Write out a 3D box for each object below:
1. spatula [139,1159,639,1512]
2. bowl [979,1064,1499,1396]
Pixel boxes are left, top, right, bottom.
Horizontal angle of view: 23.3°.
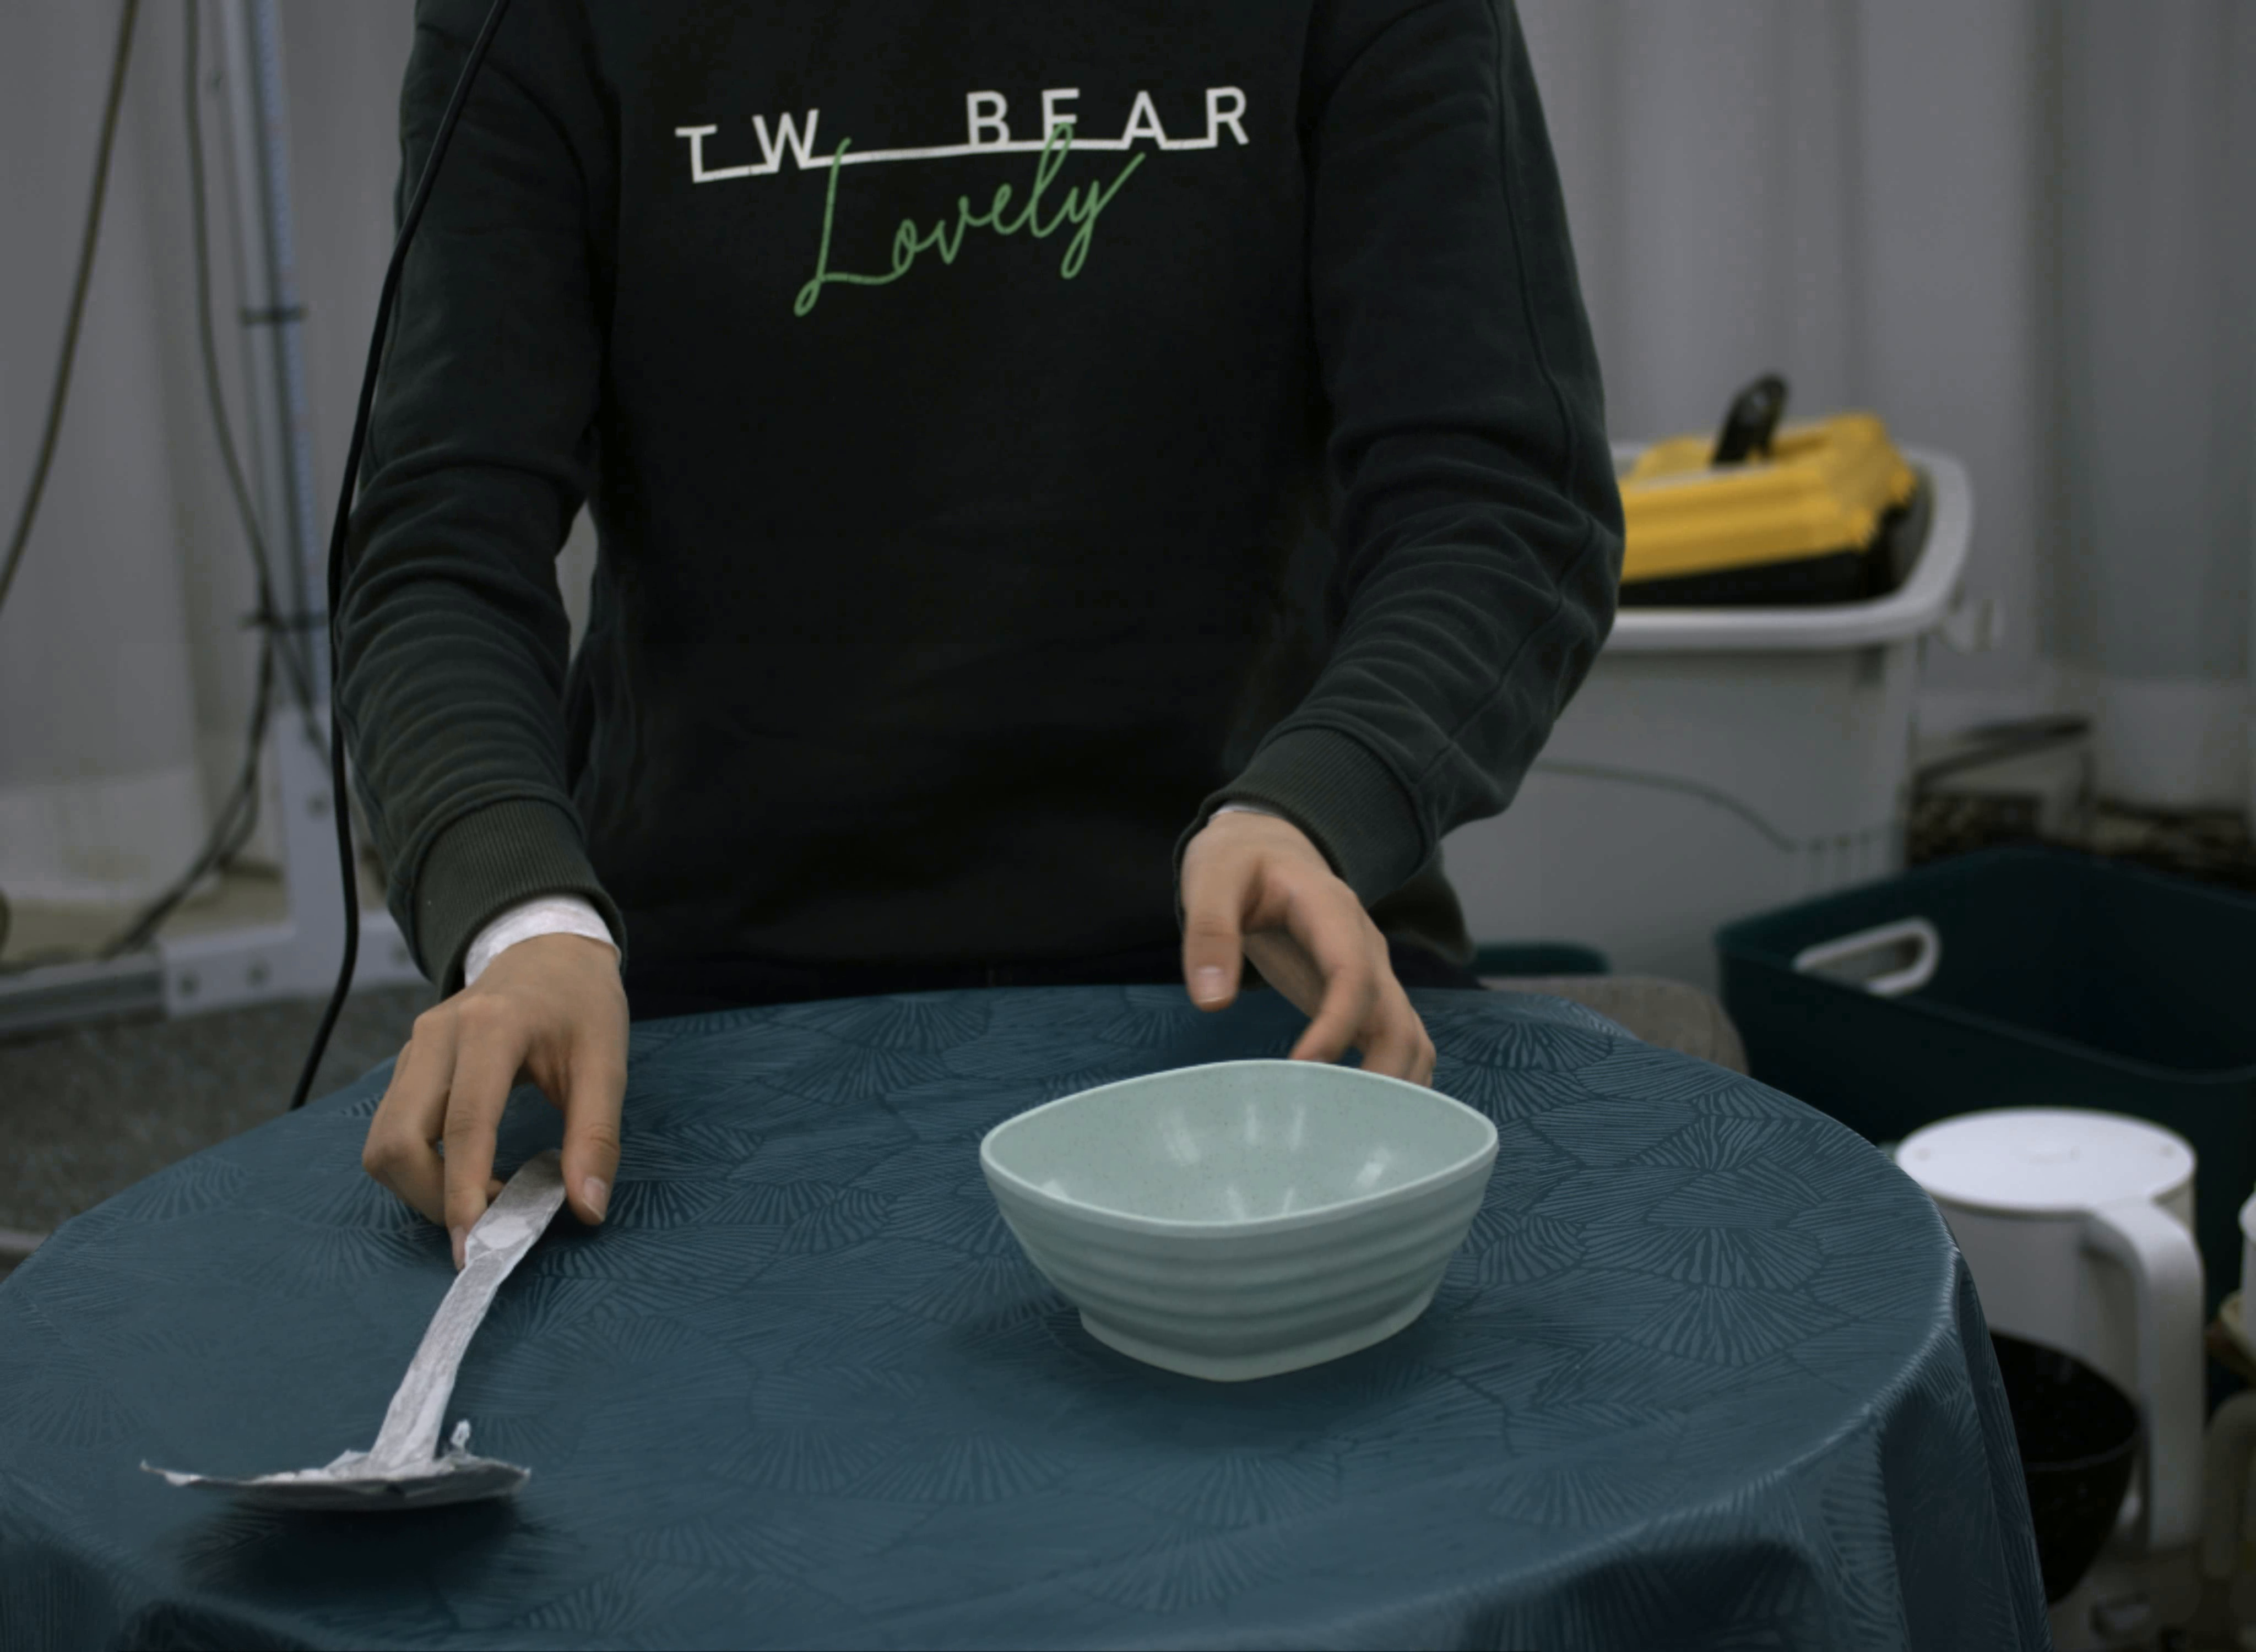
[{"bbox_3d":[-0.191,0.139,1.585,0.098,0.044,0.367,-3,15,8],"label":"spatula"},{"bbox_3d":[0.032,0.121,1.588,0.151,0.058,0.152,-1,16,0],"label":"bowl"}]
